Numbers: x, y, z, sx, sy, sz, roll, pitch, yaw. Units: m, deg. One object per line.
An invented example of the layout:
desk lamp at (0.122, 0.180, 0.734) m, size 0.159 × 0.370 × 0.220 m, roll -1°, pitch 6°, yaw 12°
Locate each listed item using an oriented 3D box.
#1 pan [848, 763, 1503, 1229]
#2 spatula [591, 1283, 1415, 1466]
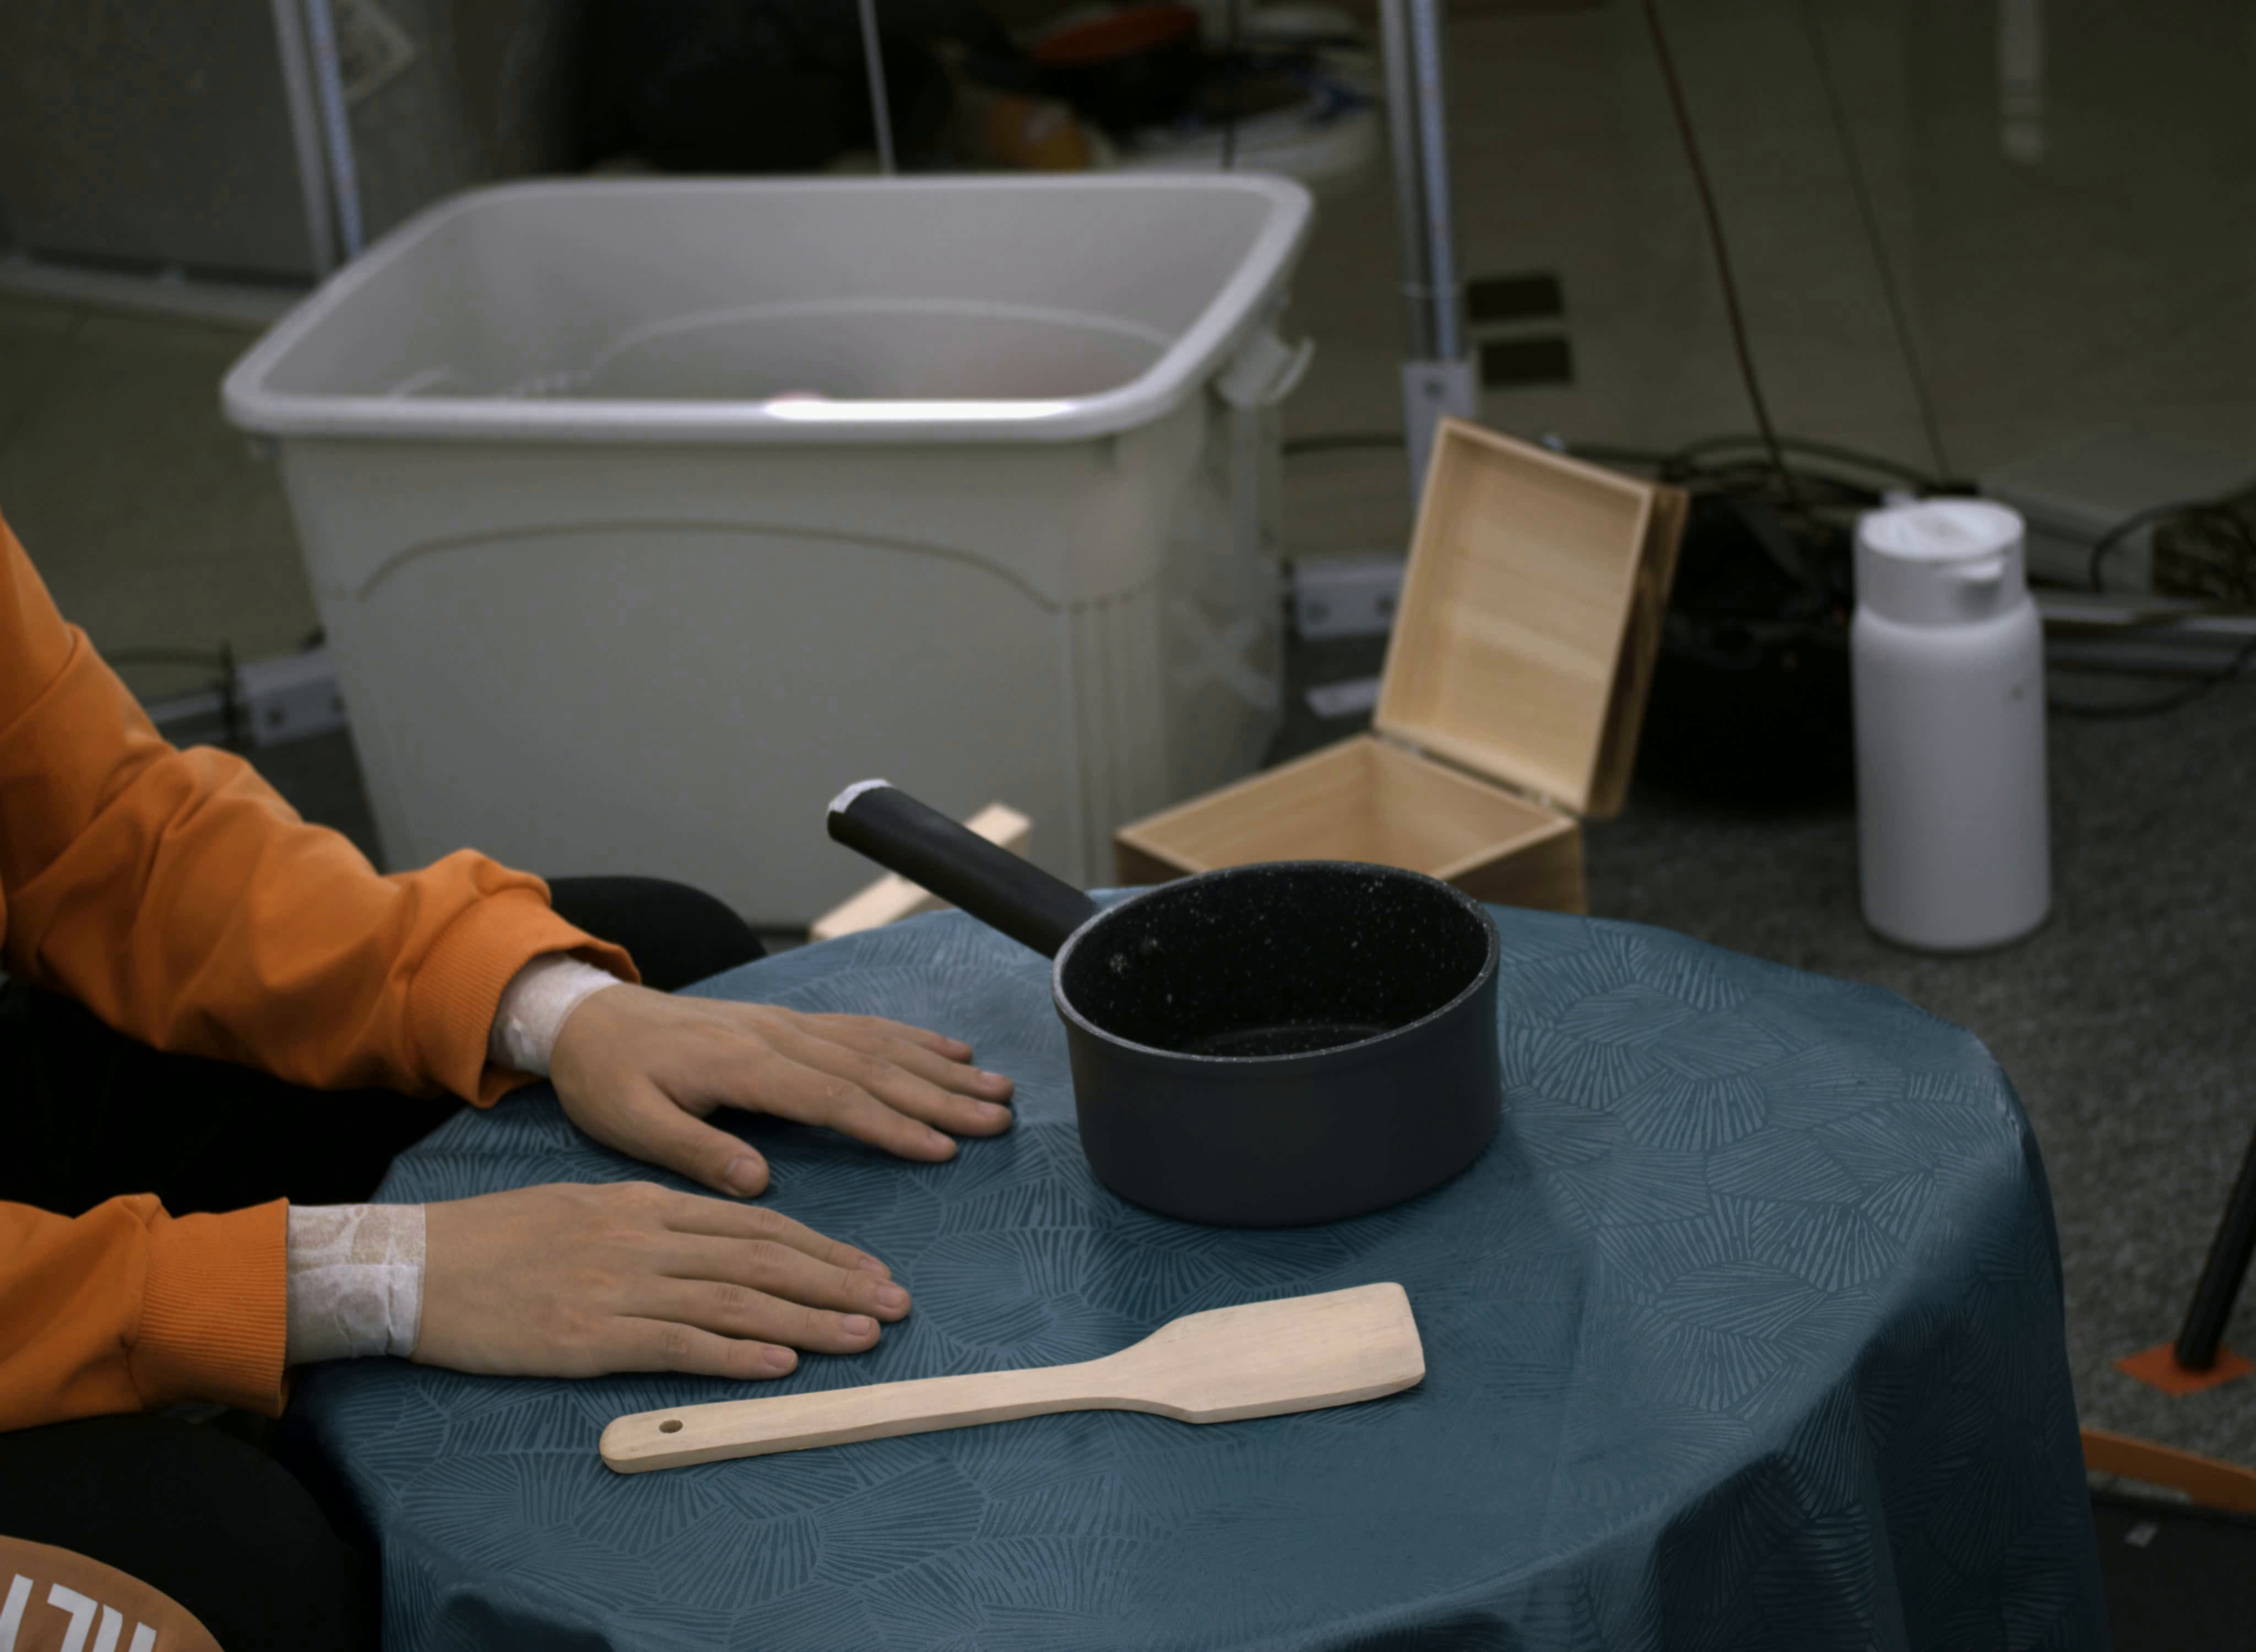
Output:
pan at (0.006, 0.060, 2.214) m, size 0.170 × 0.088 × 0.326 m, roll -25°, pitch 32°, yaw -35°
spatula at (-0.045, 0.201, 2.014) m, size 0.292 × 0.011 × 0.071 m, roll -7°, pitch 29°, yaw -2°
